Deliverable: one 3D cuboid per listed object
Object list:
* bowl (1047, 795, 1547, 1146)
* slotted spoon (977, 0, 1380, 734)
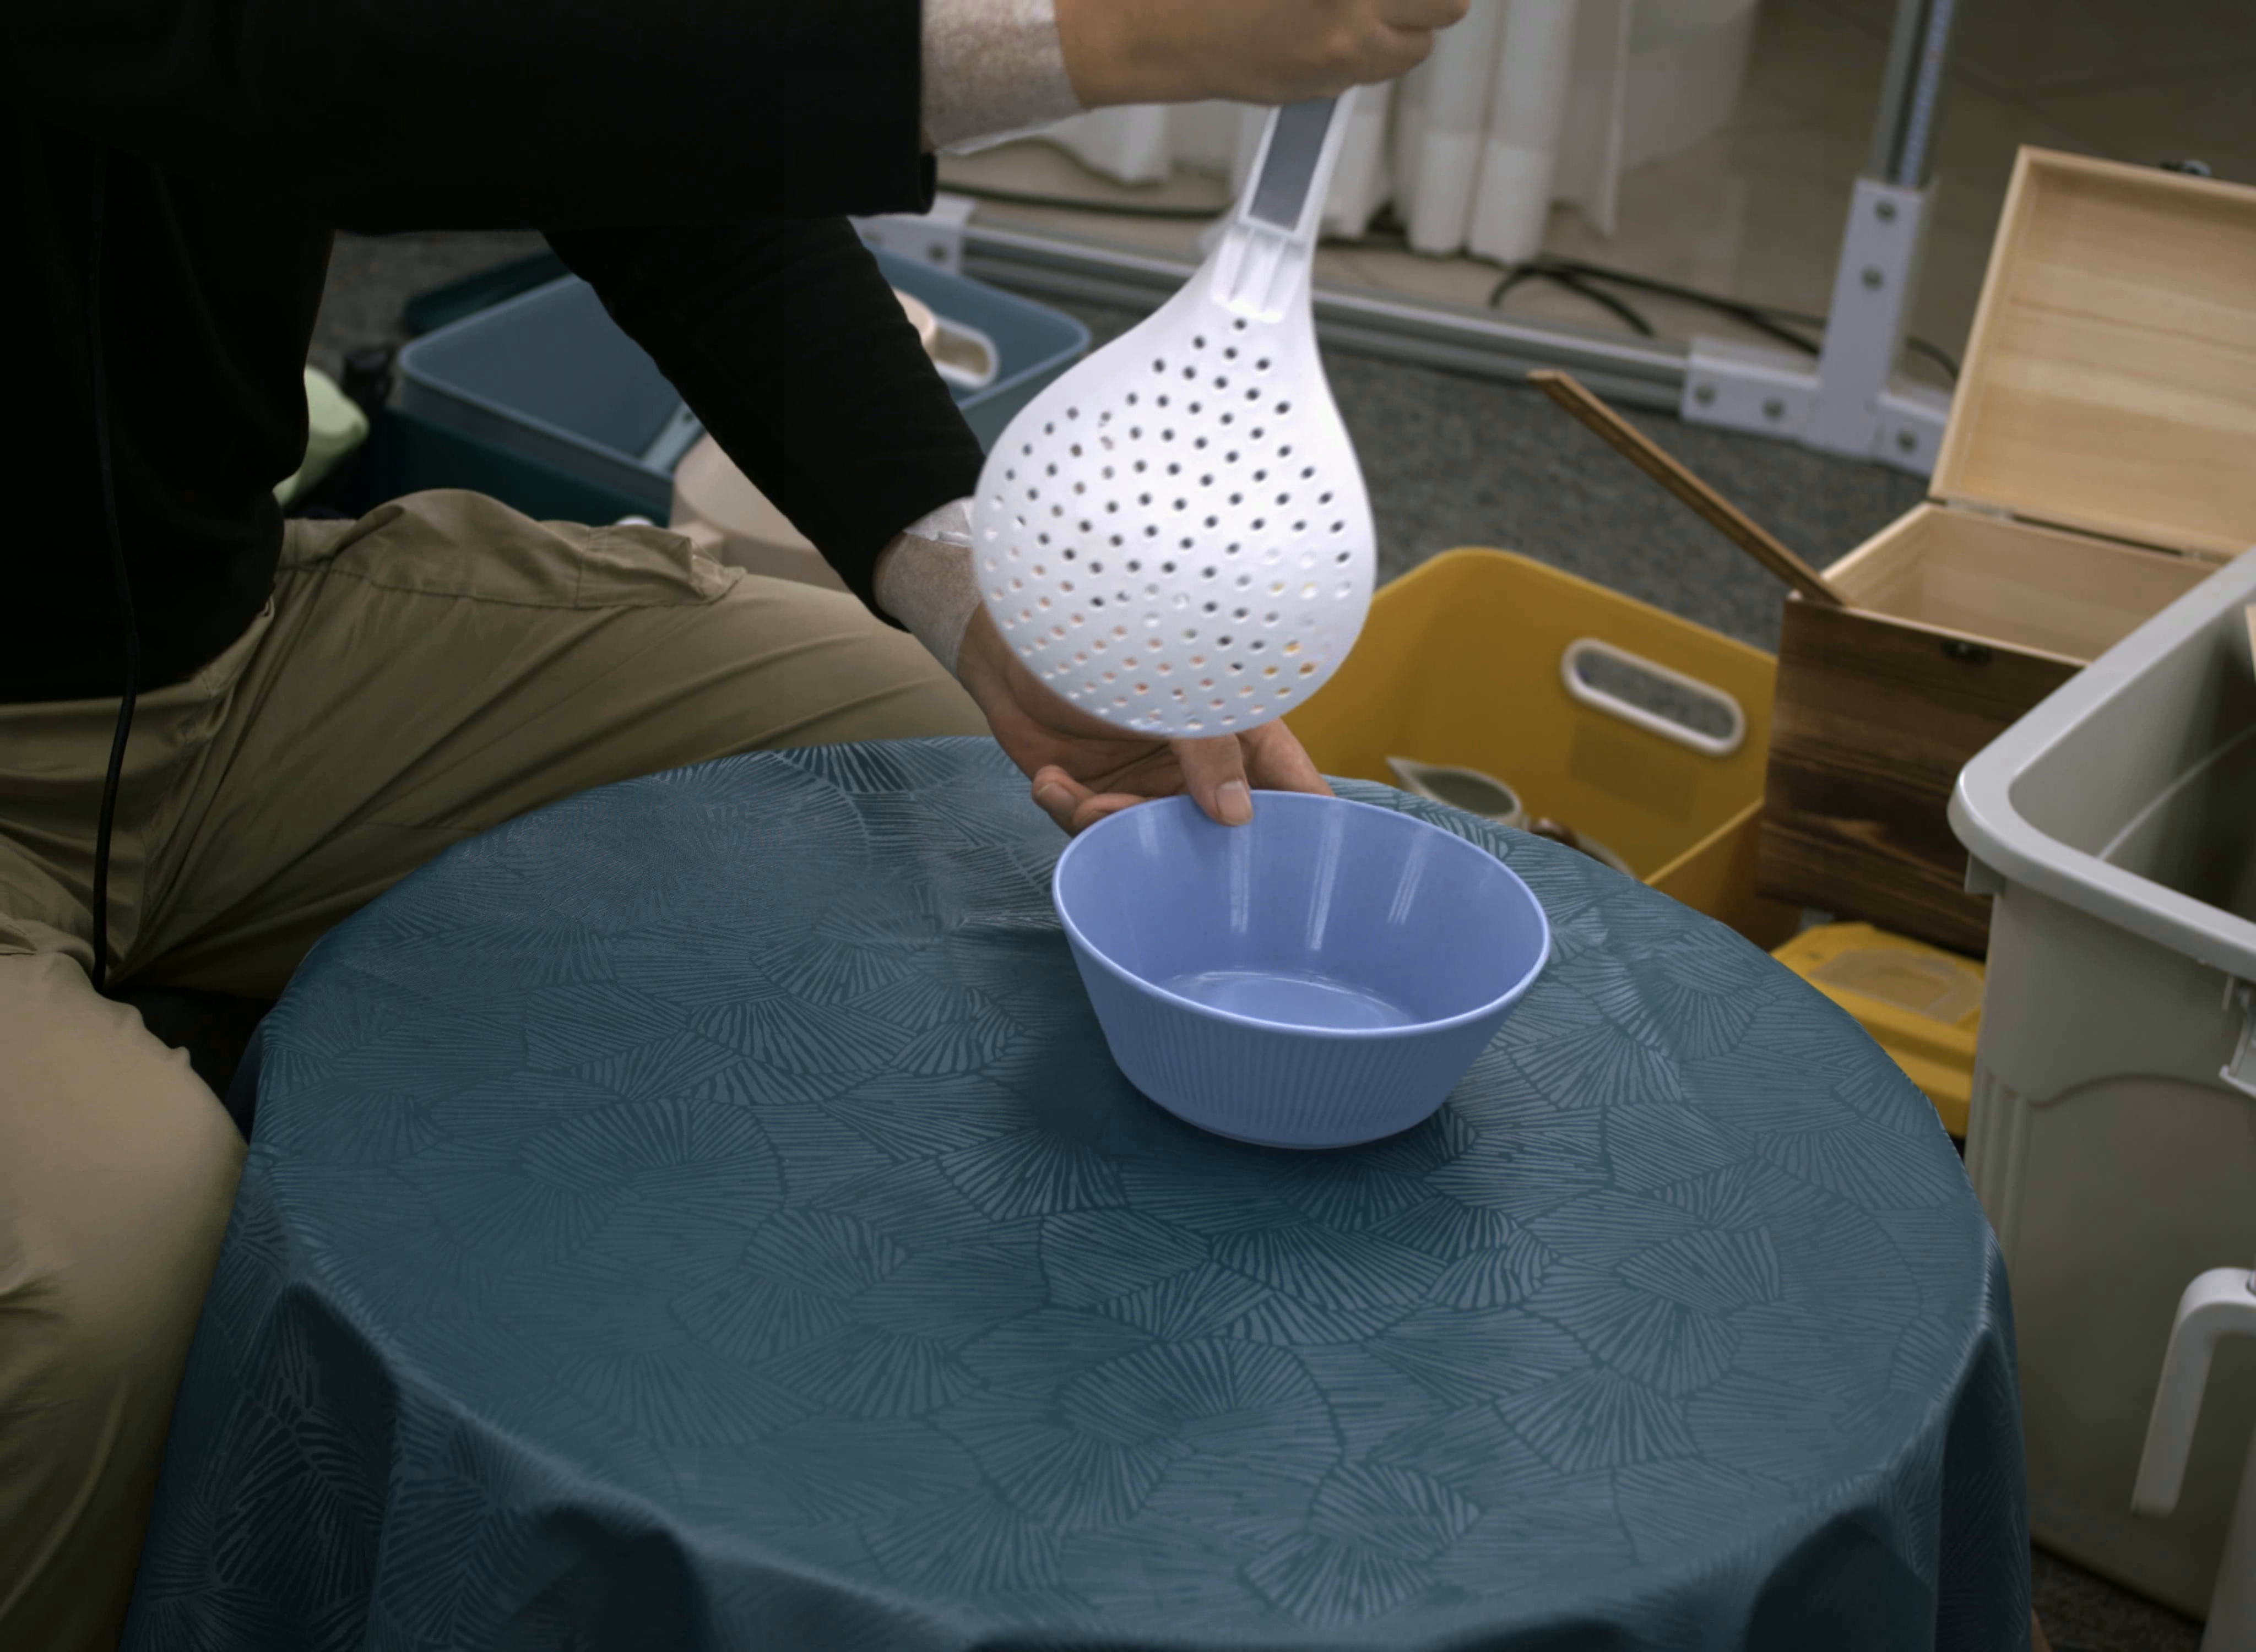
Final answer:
[{"bbox_3d":[0.056,0.056,1.870,0.175,0.070,0.177,4,26,-2],"label":"bowl"},{"bbox_3d":[0.043,-0.183,1.713,0.136,0.349,0.046,19,21,5],"label":"slotted spoon"}]
